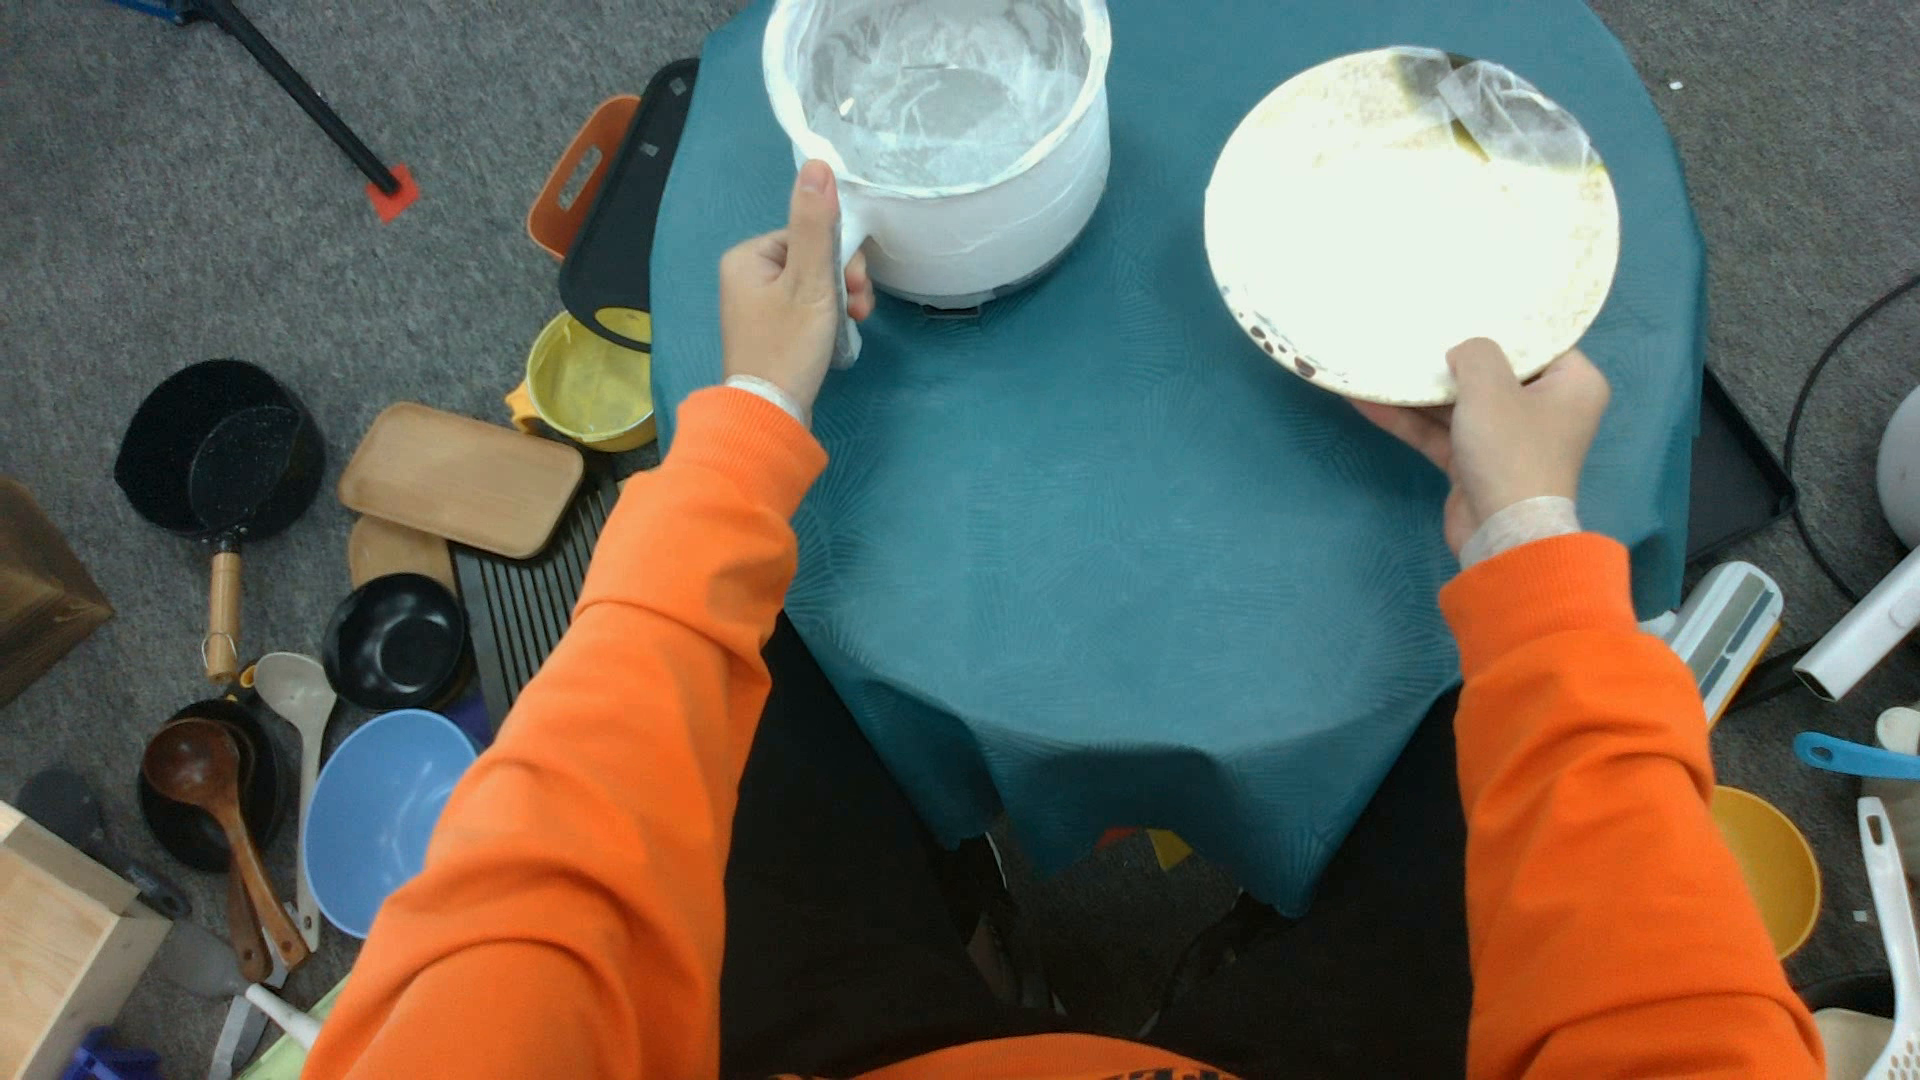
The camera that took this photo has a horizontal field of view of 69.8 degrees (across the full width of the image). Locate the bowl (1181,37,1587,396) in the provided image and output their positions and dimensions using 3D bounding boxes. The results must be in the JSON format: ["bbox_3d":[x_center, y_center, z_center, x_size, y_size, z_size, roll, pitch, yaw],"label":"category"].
[{"bbox_3d":[0.220,-0.161,0.741,0.204,0.078,0.204,-1,75,5],"label":"bowl"}]

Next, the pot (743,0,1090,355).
[{"bbox_3d":[-0.031,-0.215,0.751,0.178,0.136,0.234,28,76,14],"label":"pot"}]
